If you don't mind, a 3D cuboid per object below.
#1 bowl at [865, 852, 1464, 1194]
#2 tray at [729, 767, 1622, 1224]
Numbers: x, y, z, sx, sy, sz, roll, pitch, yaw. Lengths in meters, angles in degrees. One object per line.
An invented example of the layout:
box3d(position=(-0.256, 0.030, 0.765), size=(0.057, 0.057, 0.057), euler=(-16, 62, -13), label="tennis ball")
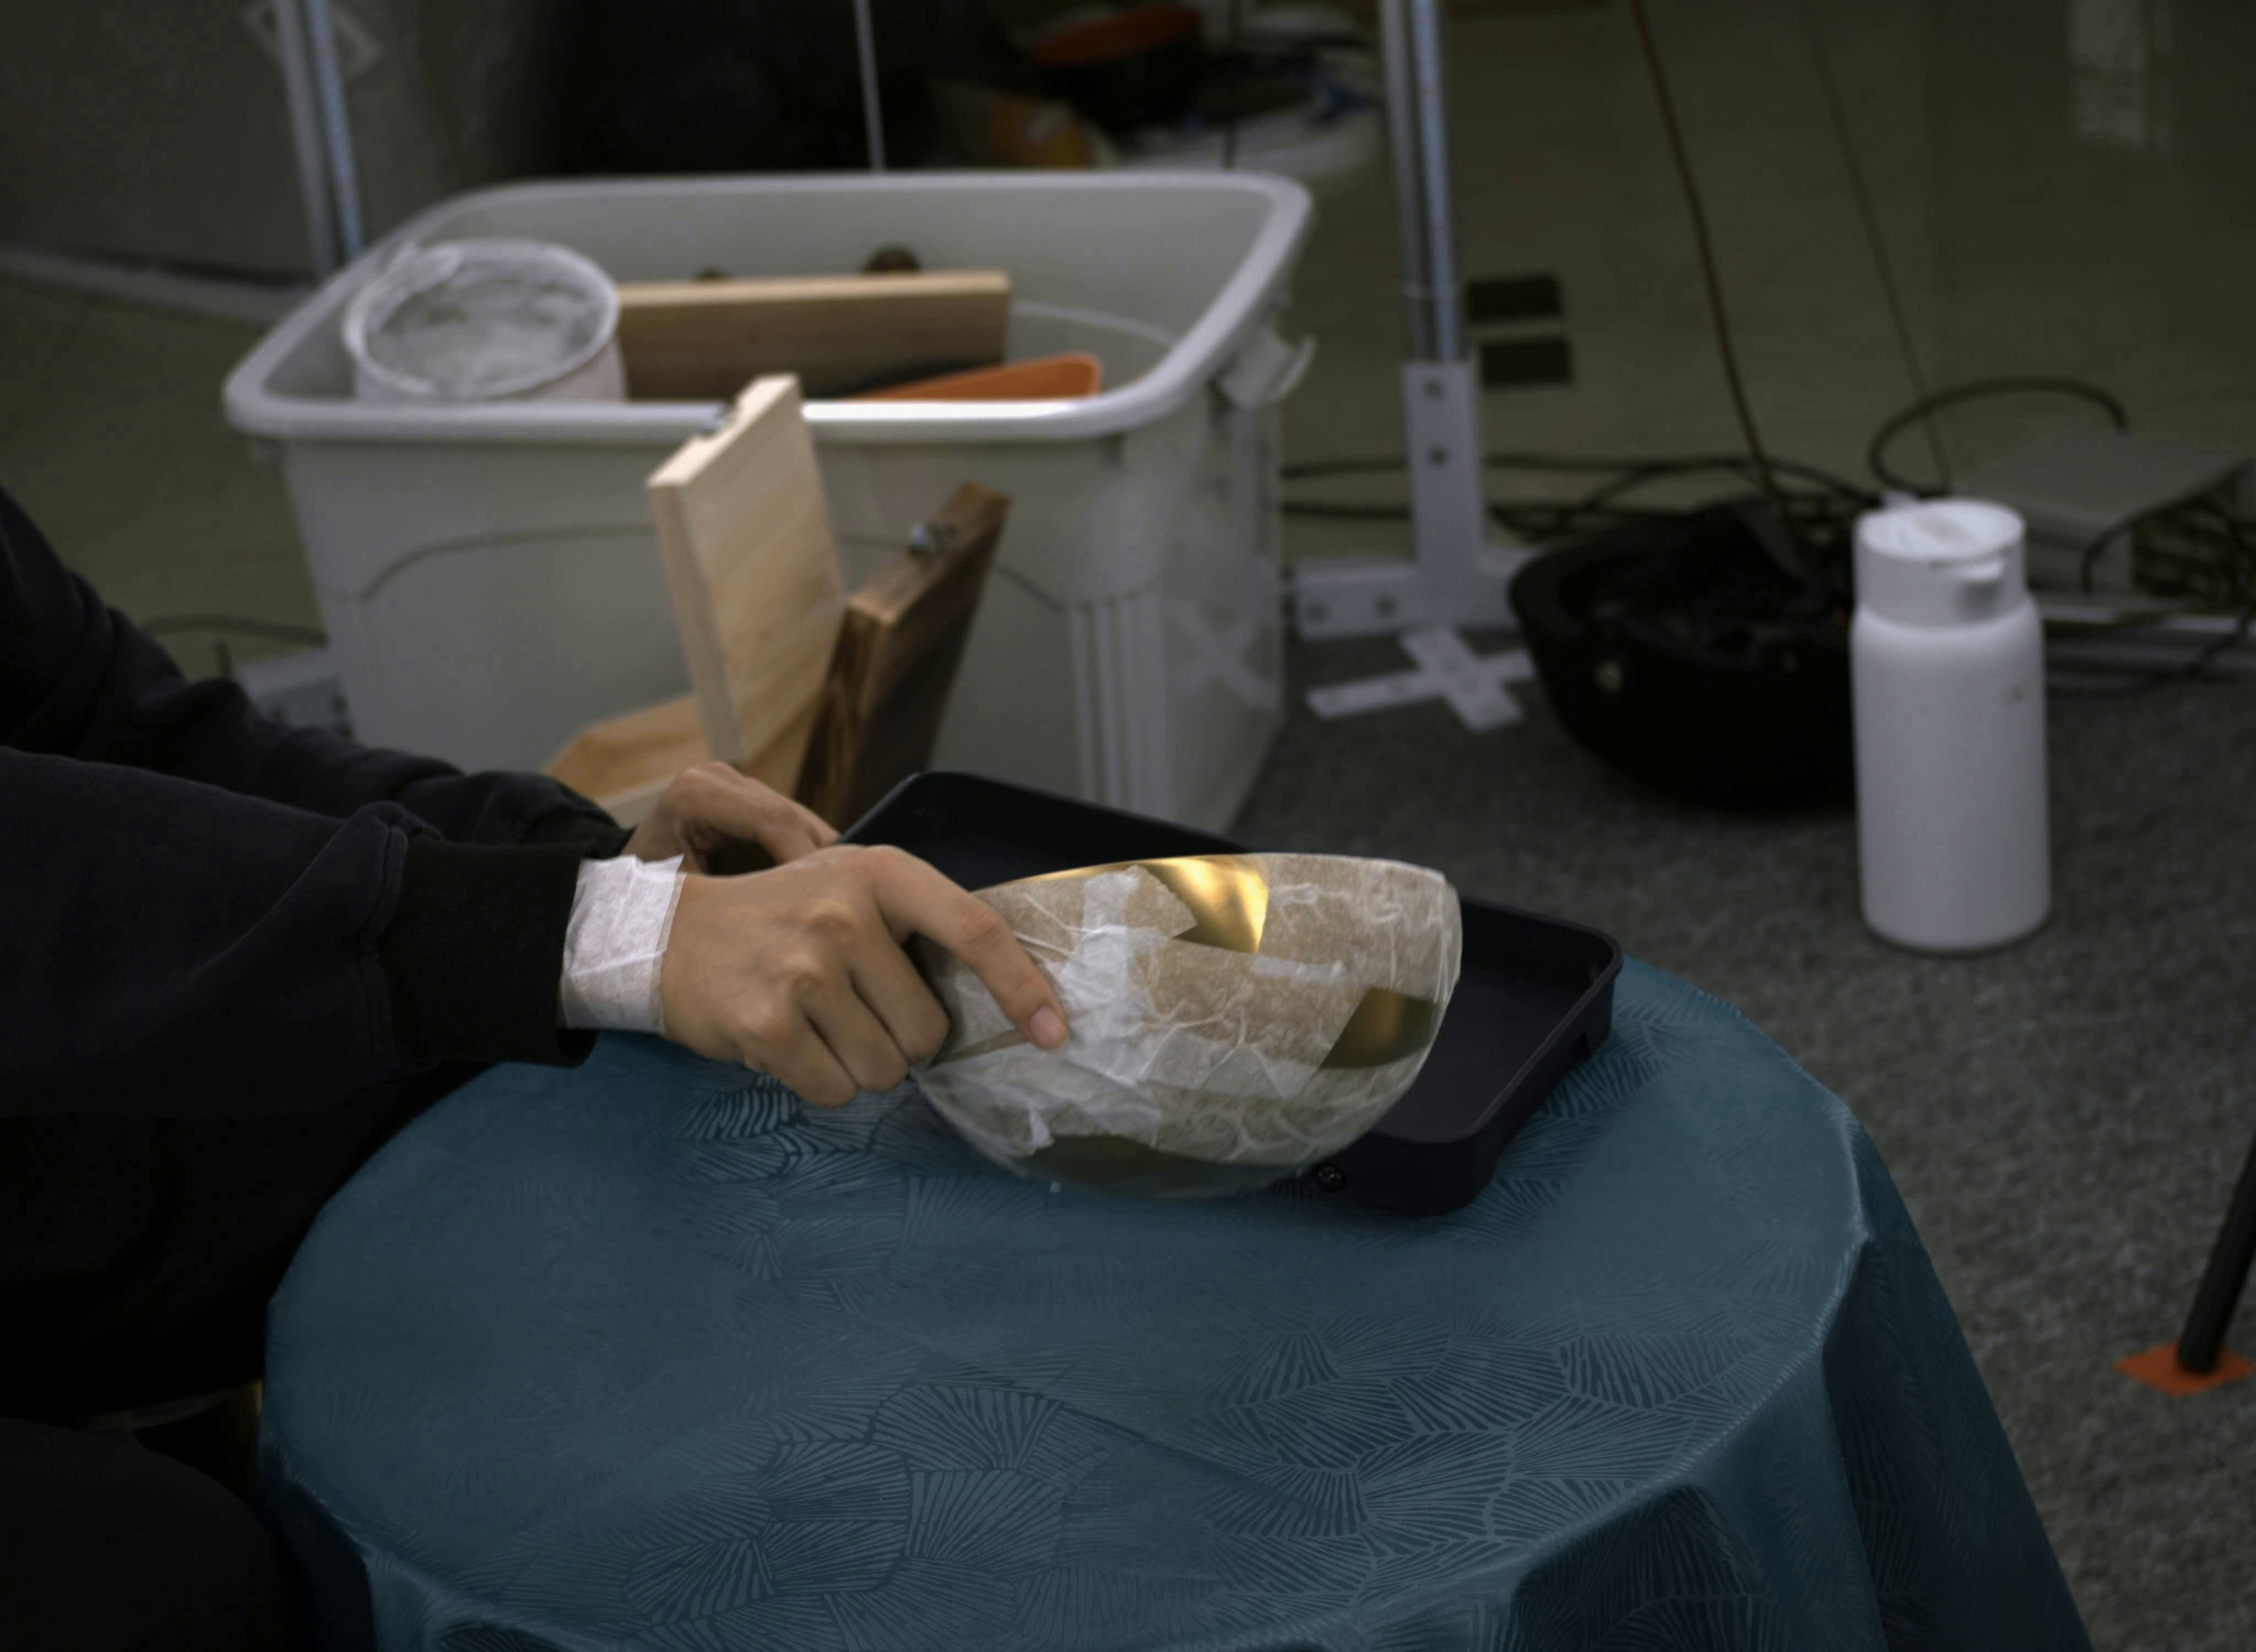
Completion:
box3d(position=(0.015, 0.076, 1.944), size=(0.214, 0.094, 0.216), euler=(-5, -11, -1), label="bowl")
box3d(position=(0.018, 0.063, 2.219), size=(0.316, 0.037, 0.182), euler=(16, 32, 22), label="tray")
